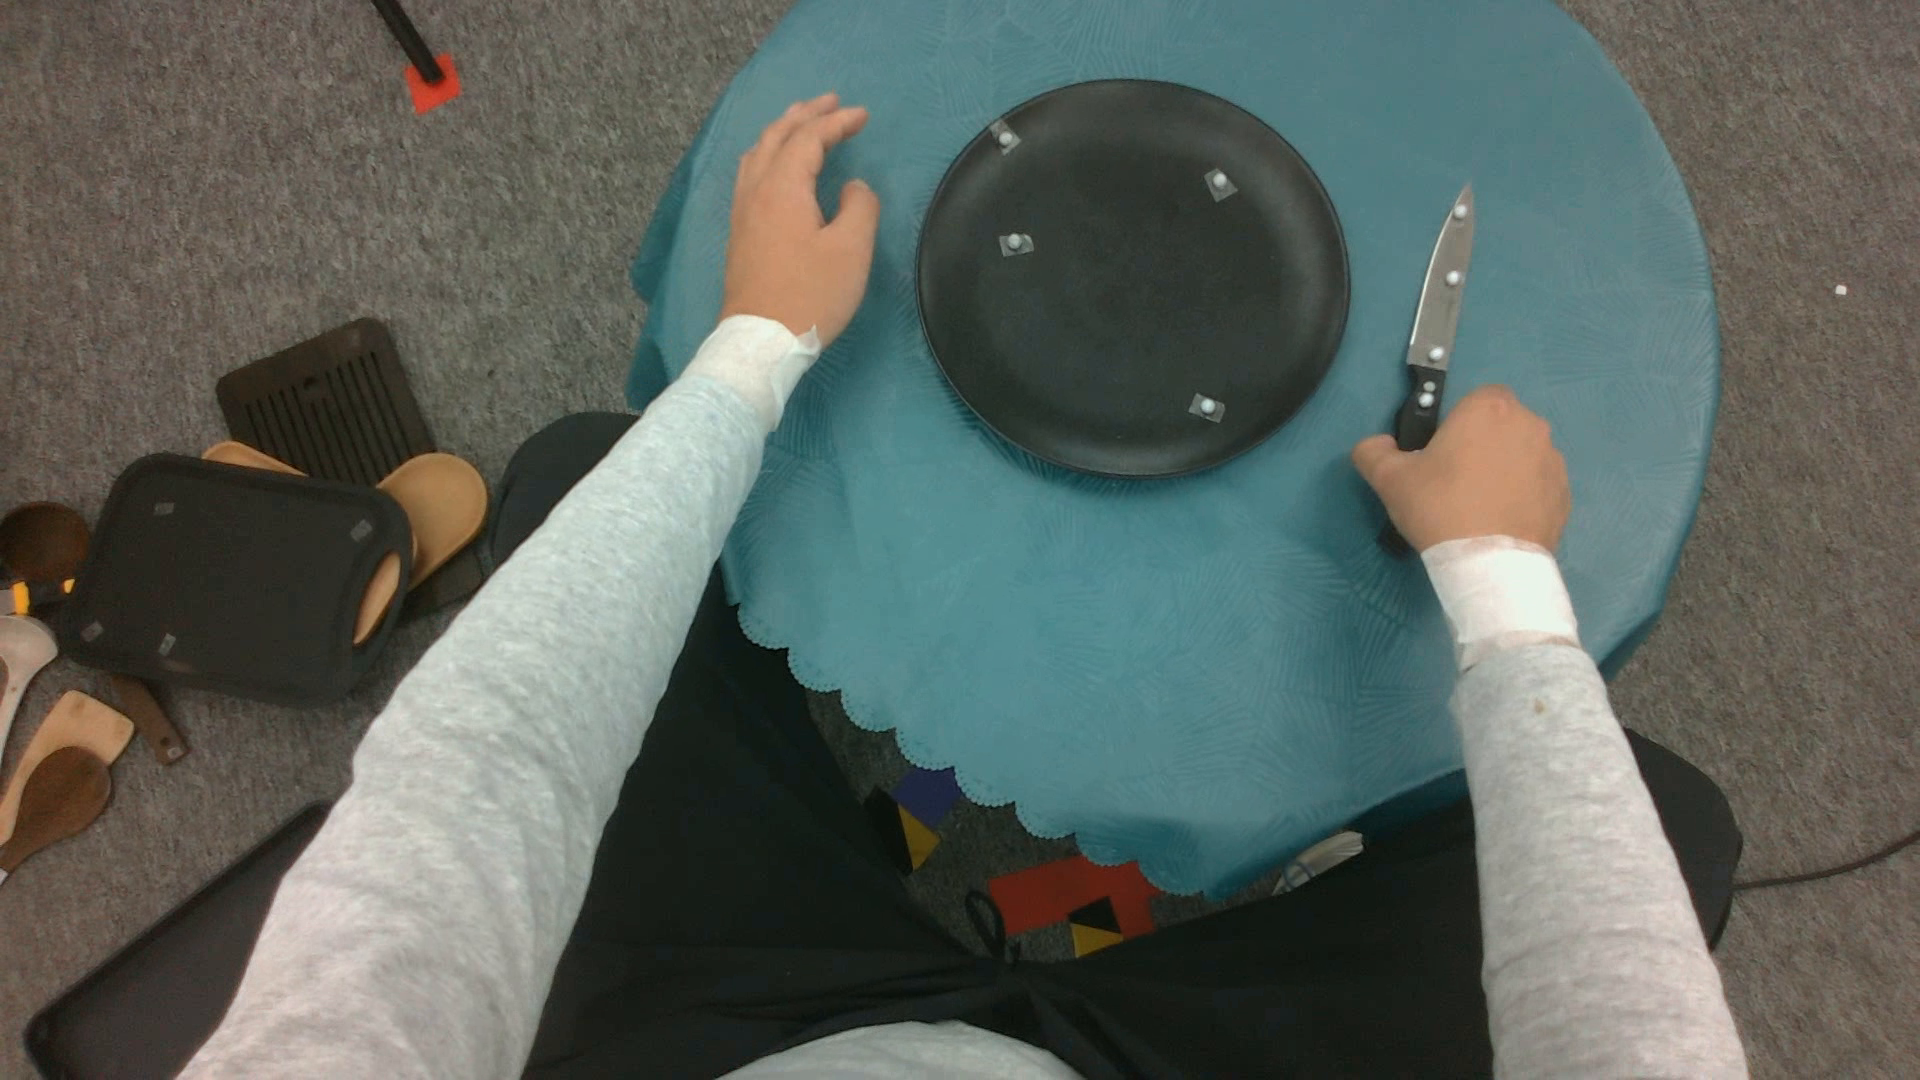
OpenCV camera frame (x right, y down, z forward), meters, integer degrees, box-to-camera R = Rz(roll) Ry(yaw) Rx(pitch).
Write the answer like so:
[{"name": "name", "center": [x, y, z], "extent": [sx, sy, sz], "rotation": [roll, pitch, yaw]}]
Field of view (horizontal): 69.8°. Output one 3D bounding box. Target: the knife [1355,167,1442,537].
[{"name": "knife", "center": [0.252, -0.110, 0.774], "extent": [0.024, 0.016, 0.239], "rotation": [14, 72, 6]}]

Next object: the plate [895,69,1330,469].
[{"name": "plate", "center": [0.085, -0.154, 0.778], "extent": [0.244, 0.023, 0.245], "rotation": [0, 75, -1]}]
